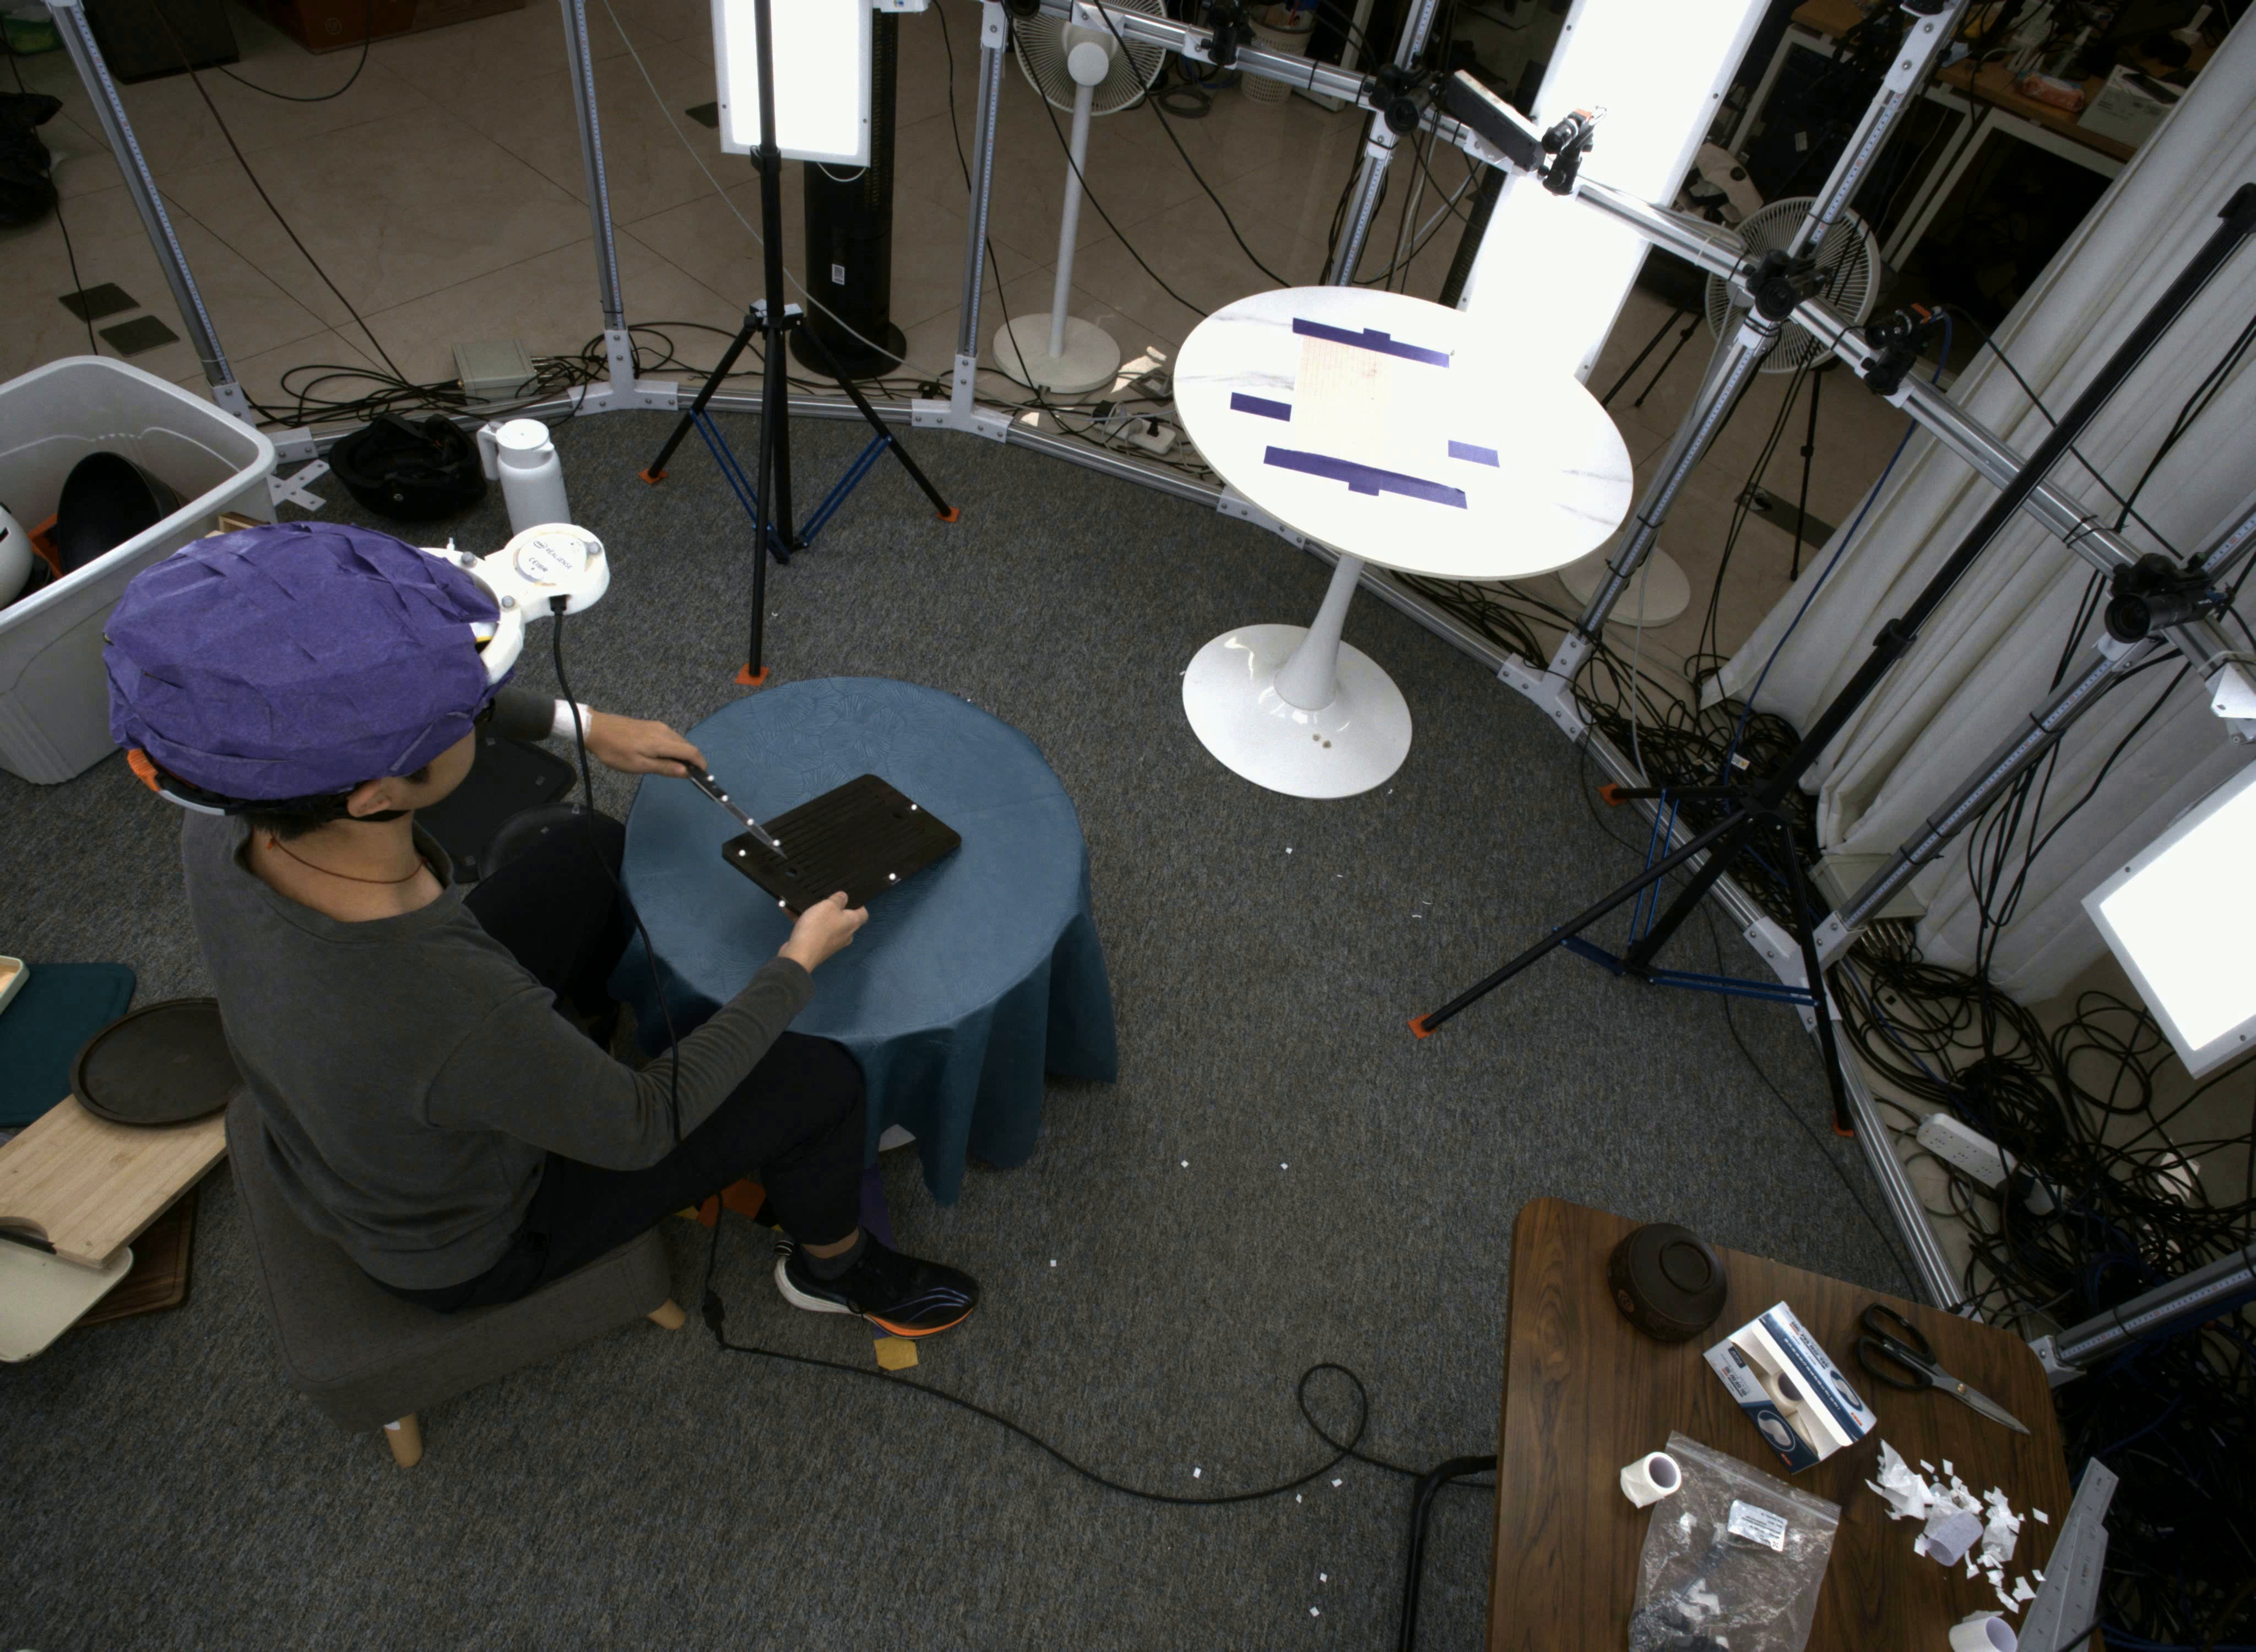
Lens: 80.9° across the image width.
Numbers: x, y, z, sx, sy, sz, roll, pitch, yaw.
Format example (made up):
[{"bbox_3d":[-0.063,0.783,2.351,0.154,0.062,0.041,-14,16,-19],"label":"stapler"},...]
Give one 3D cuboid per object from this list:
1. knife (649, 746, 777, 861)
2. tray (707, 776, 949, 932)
[{"bbox_3d":[-0.510,-0.028,1.574,0.233,0.016,0.025,38,22,15],"label":"knife"},{"bbox_3d":[-0.374,0.030,1.649,0.167,0.019,0.306,35,32,11],"label":"tray"}]
